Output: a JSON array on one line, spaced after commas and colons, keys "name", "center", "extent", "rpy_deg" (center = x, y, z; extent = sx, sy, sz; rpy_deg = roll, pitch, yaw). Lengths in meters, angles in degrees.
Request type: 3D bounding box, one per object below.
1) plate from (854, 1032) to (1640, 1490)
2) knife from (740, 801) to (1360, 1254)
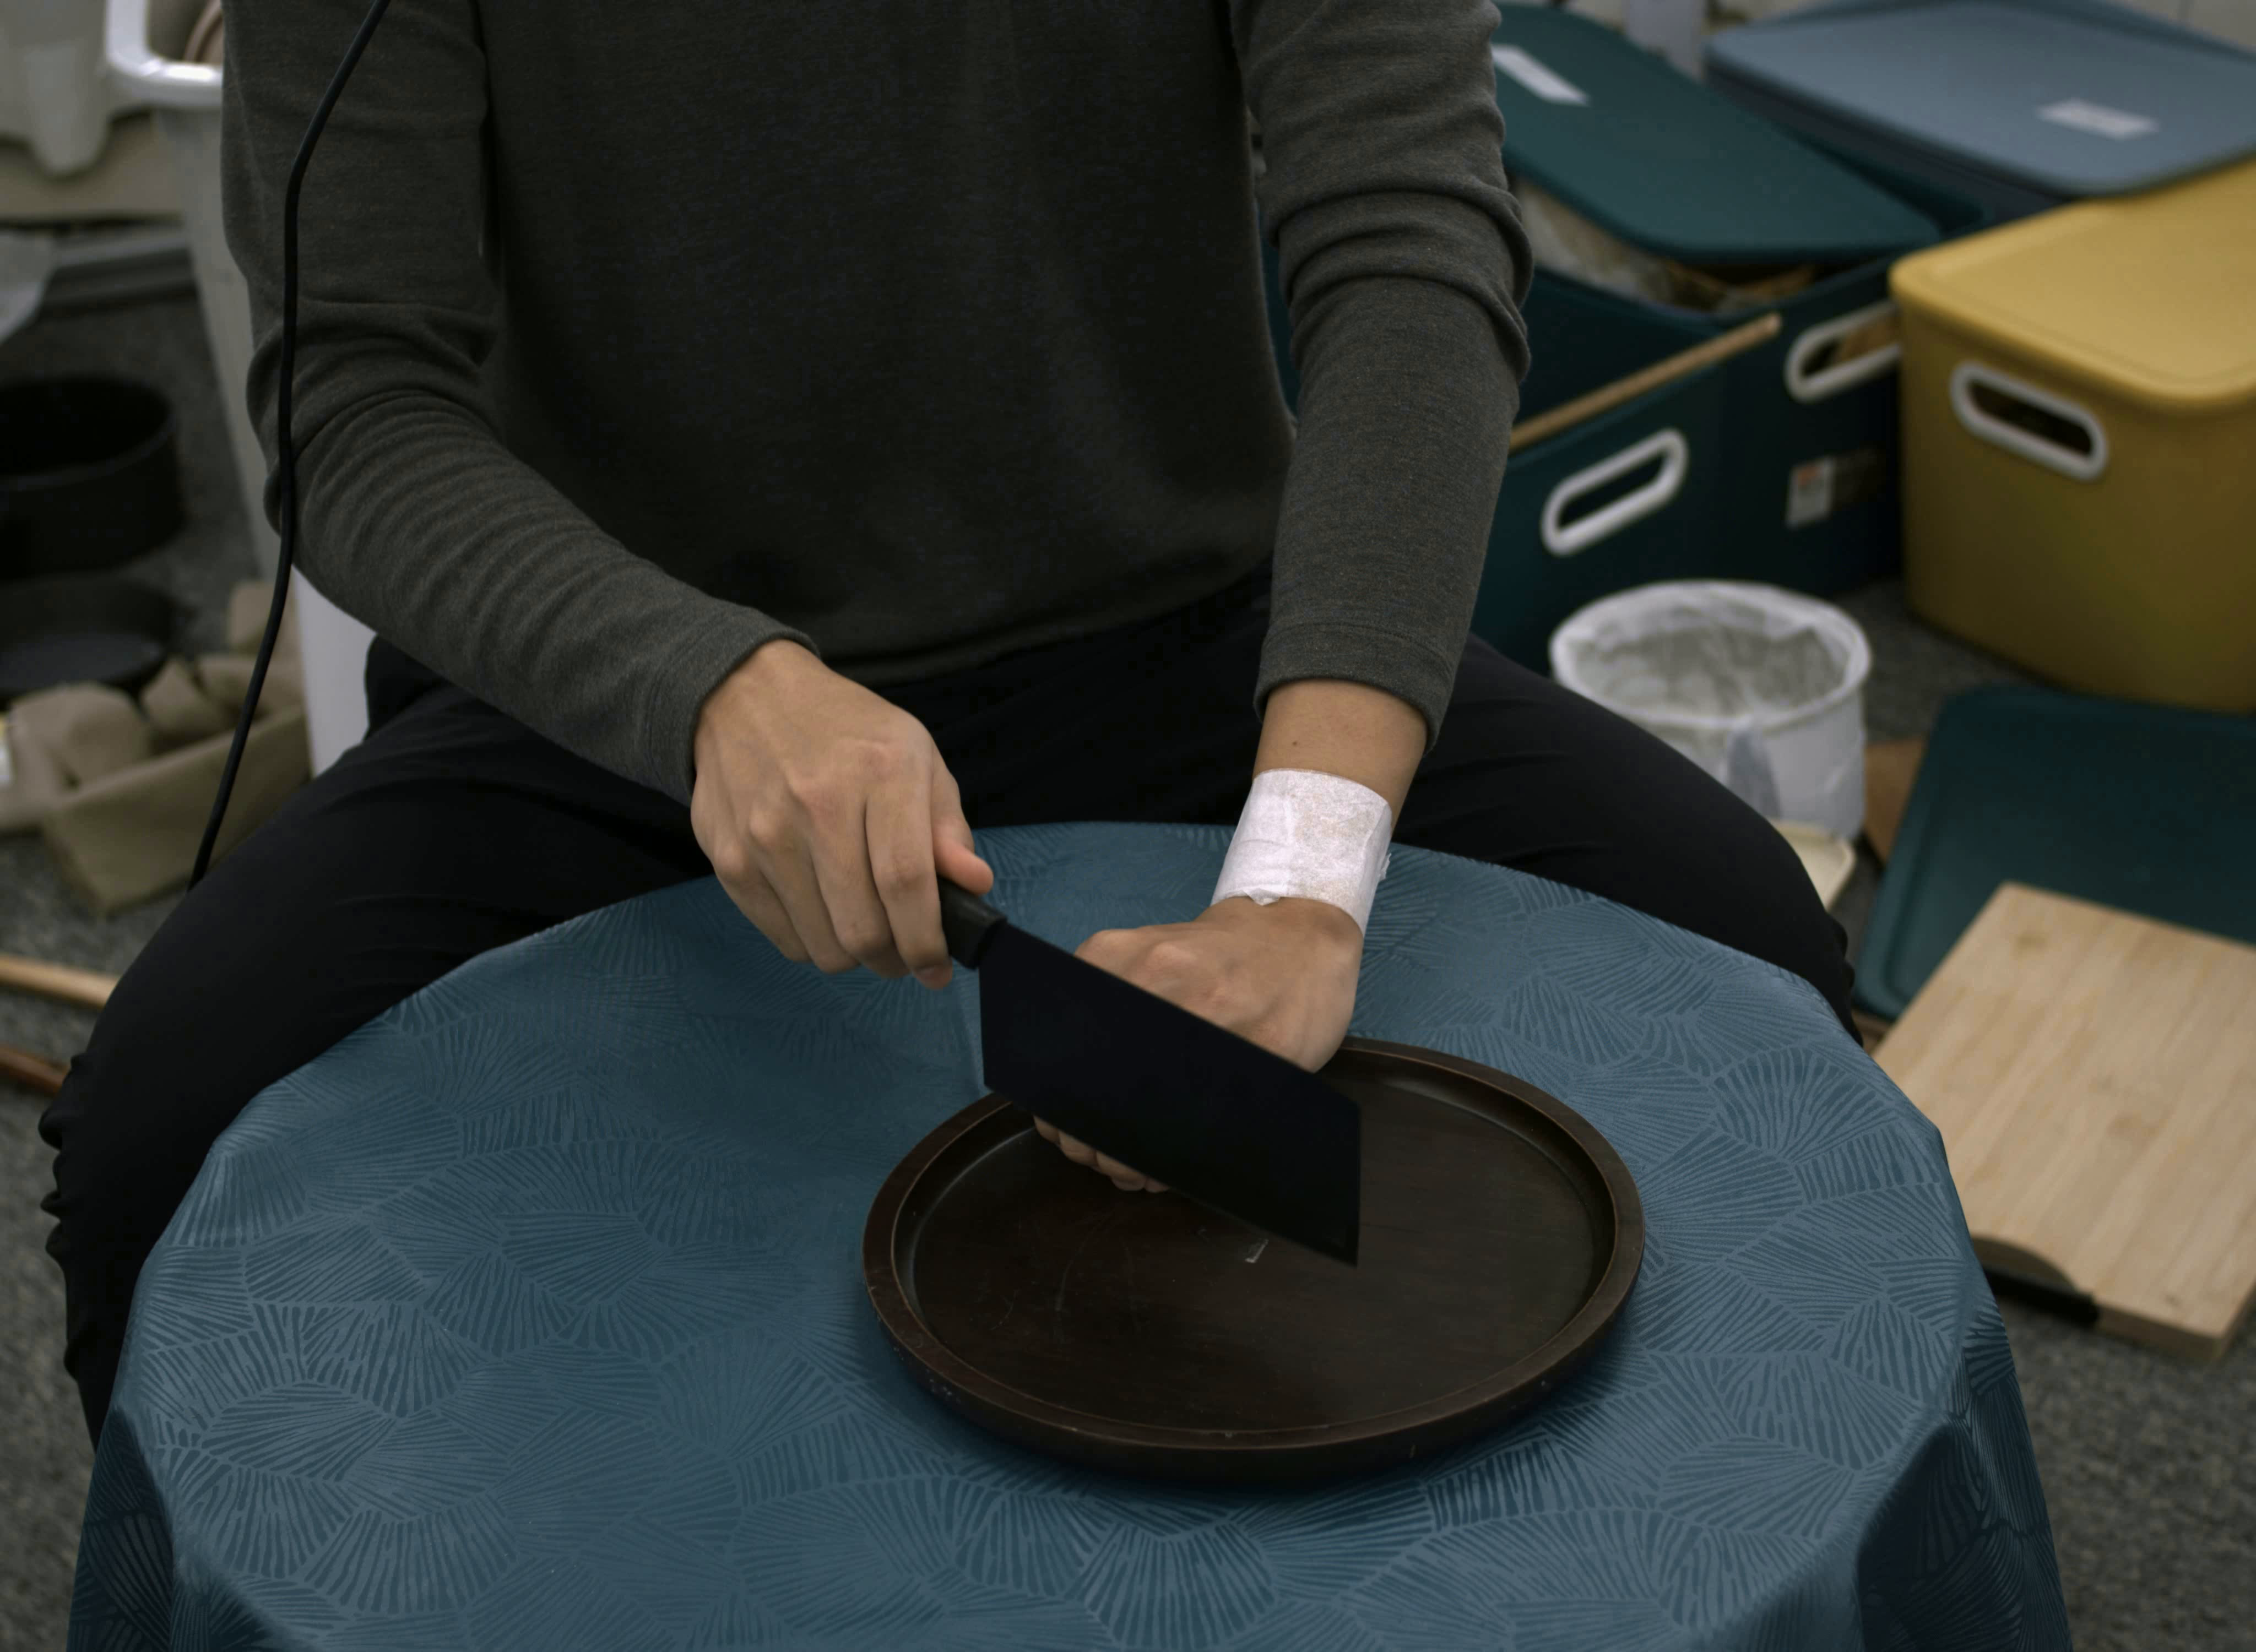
[{"name": "plate", "center": [0.038, 0.137, 1.803], "extent": [0.253, 0.029, 0.259], "rpy_deg": [-3, 28, 2]}, {"name": "knife", "center": [-0.028, 0.059, 1.816], "extent": [0.021, 0.080, 0.302], "rpy_deg": [-17, 33, -38]}]
